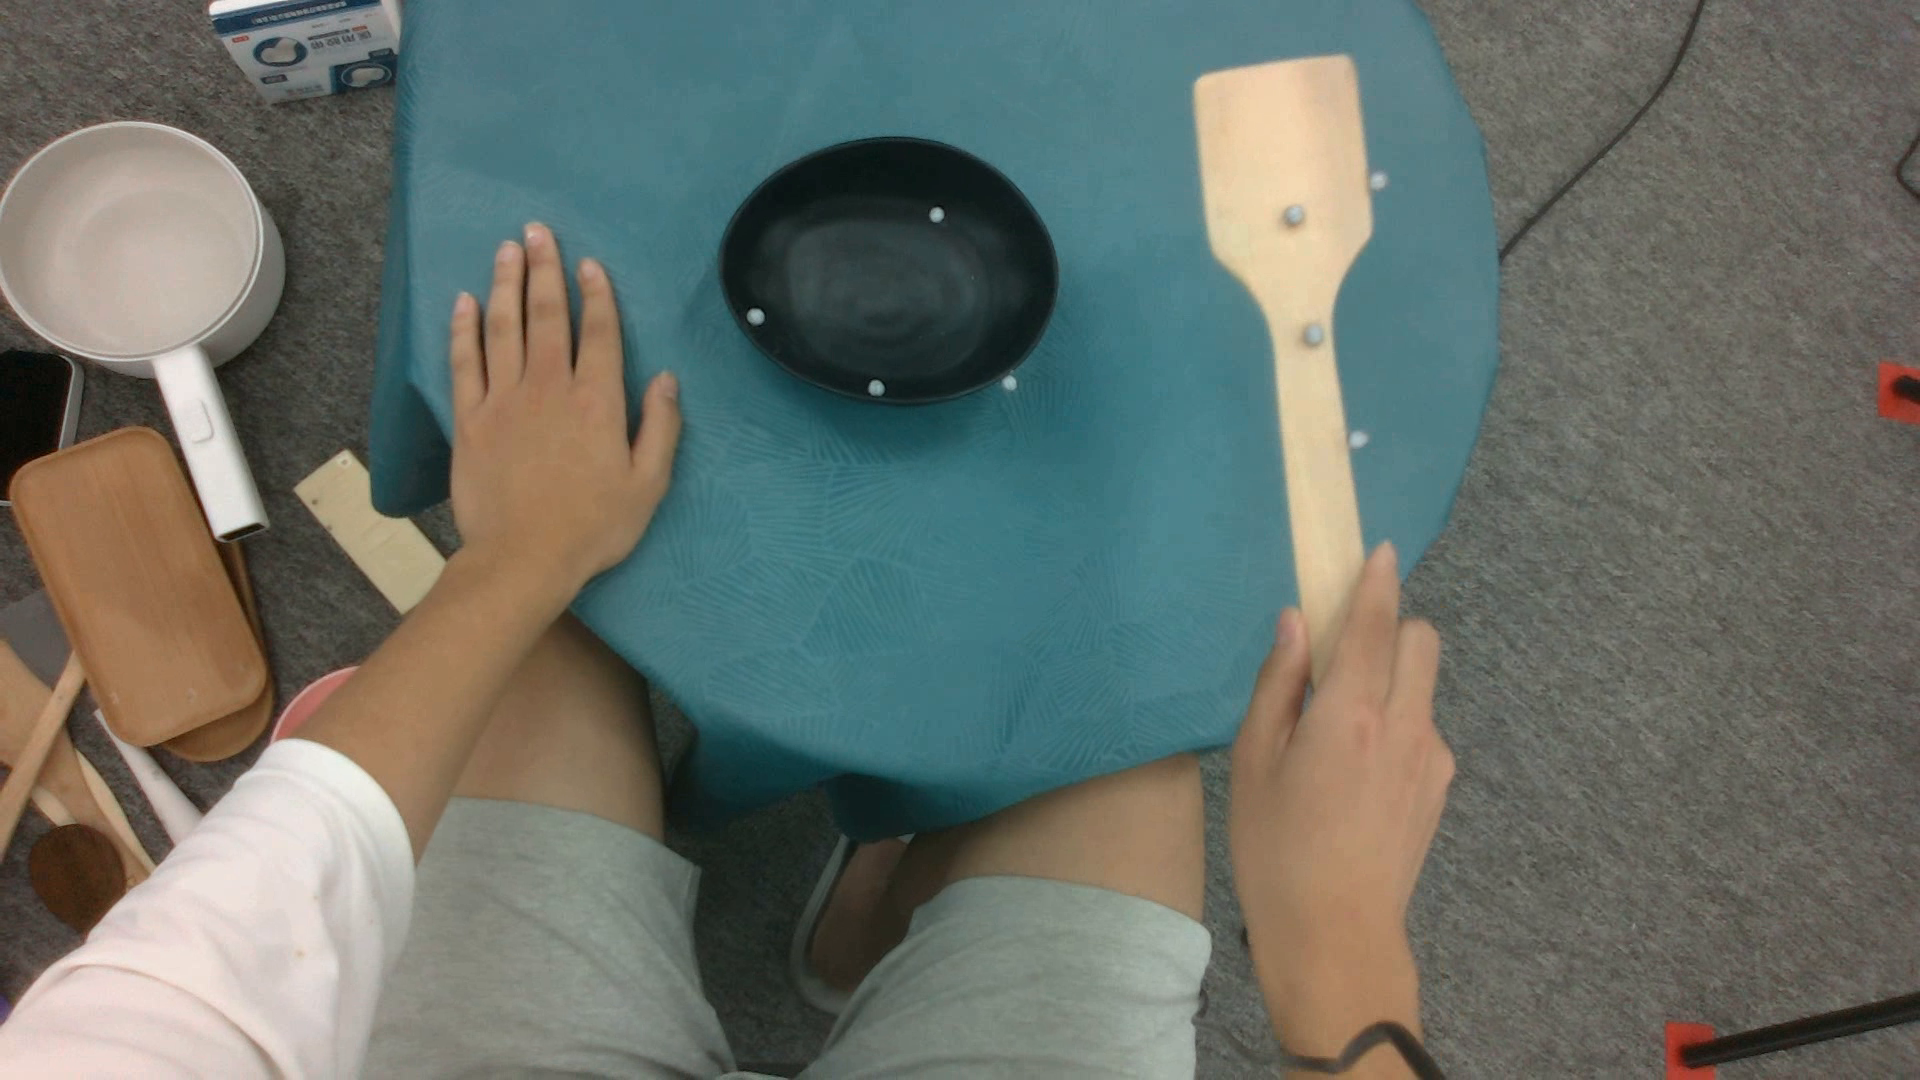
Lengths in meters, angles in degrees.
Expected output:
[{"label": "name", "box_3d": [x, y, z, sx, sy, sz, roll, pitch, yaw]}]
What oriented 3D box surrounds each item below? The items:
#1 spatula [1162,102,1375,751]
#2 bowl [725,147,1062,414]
[{"label": "spatula", "box_3d": [0.142, -0.056, 0.593, 0.072, 0.010, 0.293, -8, 74, 6]}, {"label": "bowl", "box_3d": [-0.035, -0.127, 0.717, 0.170, 0.066, 0.137, -2, 82, -7]}]
